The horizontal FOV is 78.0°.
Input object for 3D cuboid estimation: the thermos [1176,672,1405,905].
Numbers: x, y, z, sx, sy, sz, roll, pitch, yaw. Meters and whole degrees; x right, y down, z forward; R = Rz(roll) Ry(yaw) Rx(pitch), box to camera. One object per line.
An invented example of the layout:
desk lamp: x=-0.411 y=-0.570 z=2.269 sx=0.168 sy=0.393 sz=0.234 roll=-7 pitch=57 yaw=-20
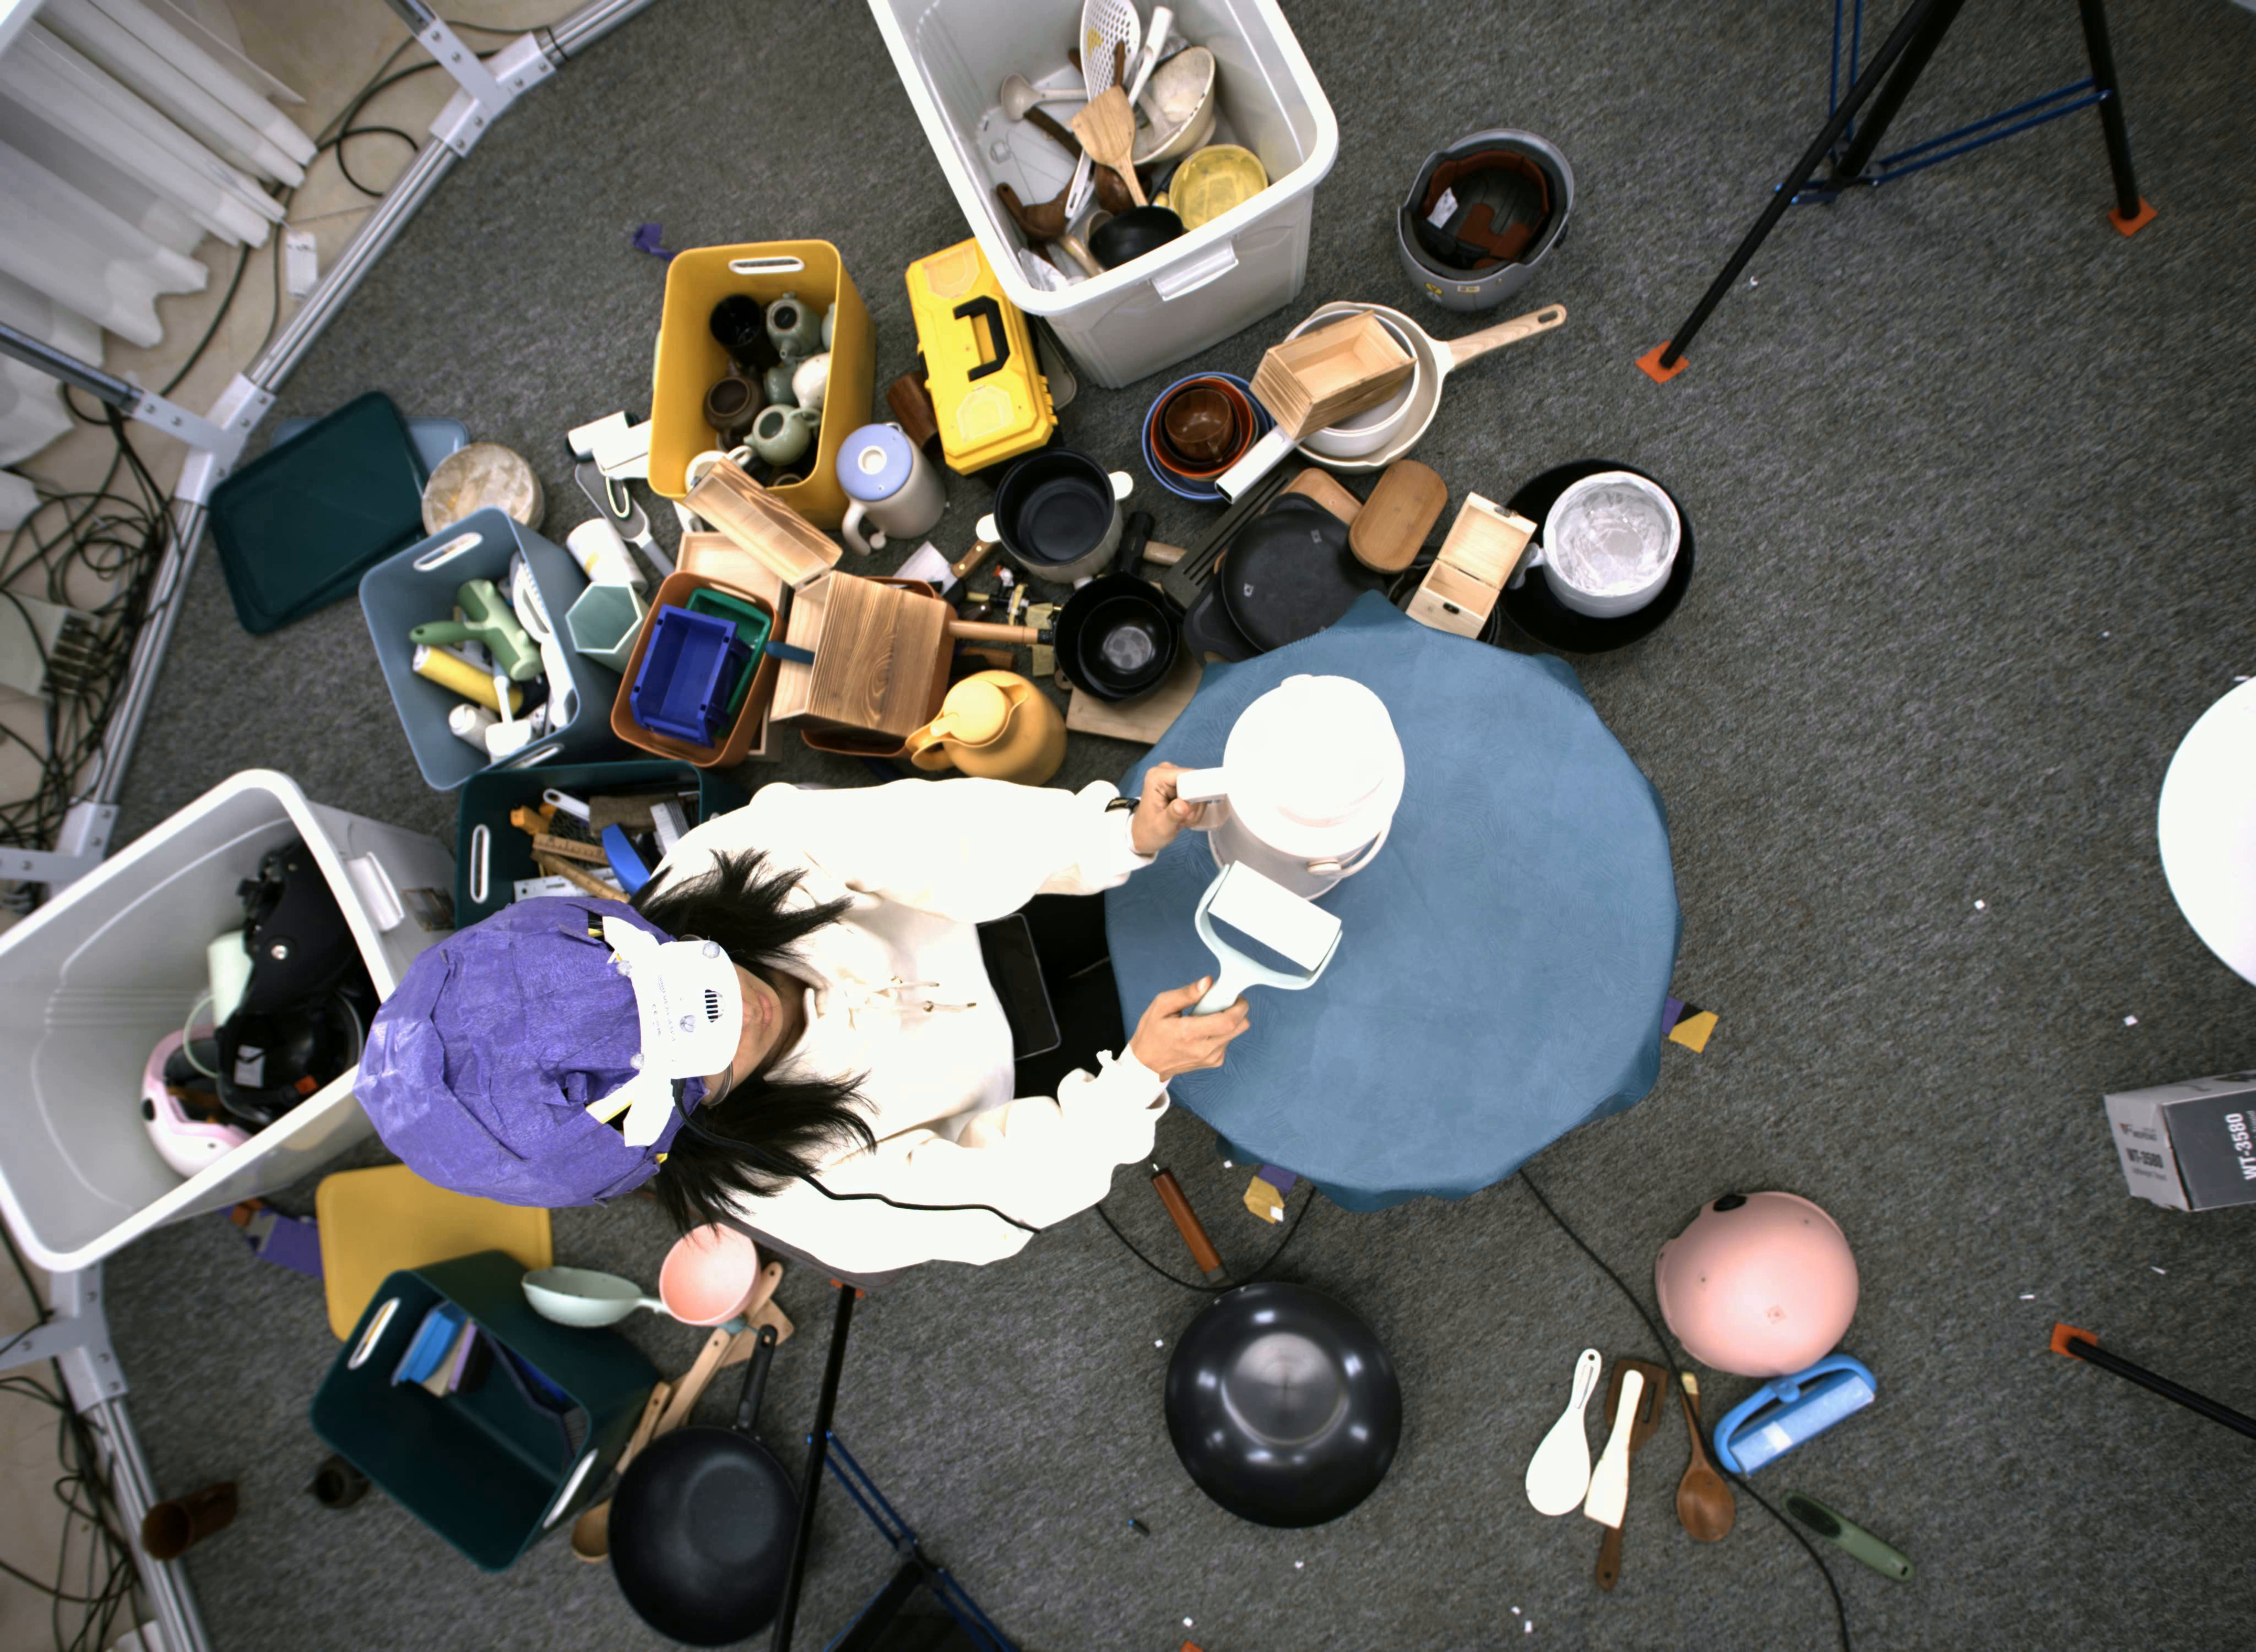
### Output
thermos: x=0.147 y=-0.032 z=1.275 sx=0.207 sy=0.409 sz=0.174 roll=-7 pitch=80 yaw=0

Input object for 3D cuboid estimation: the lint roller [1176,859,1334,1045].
lint roller: x=0.082 y=0.124 z=1.183 sx=0.117 sy=0.047 sz=0.202 roll=29 pitch=124 yaw=-1
